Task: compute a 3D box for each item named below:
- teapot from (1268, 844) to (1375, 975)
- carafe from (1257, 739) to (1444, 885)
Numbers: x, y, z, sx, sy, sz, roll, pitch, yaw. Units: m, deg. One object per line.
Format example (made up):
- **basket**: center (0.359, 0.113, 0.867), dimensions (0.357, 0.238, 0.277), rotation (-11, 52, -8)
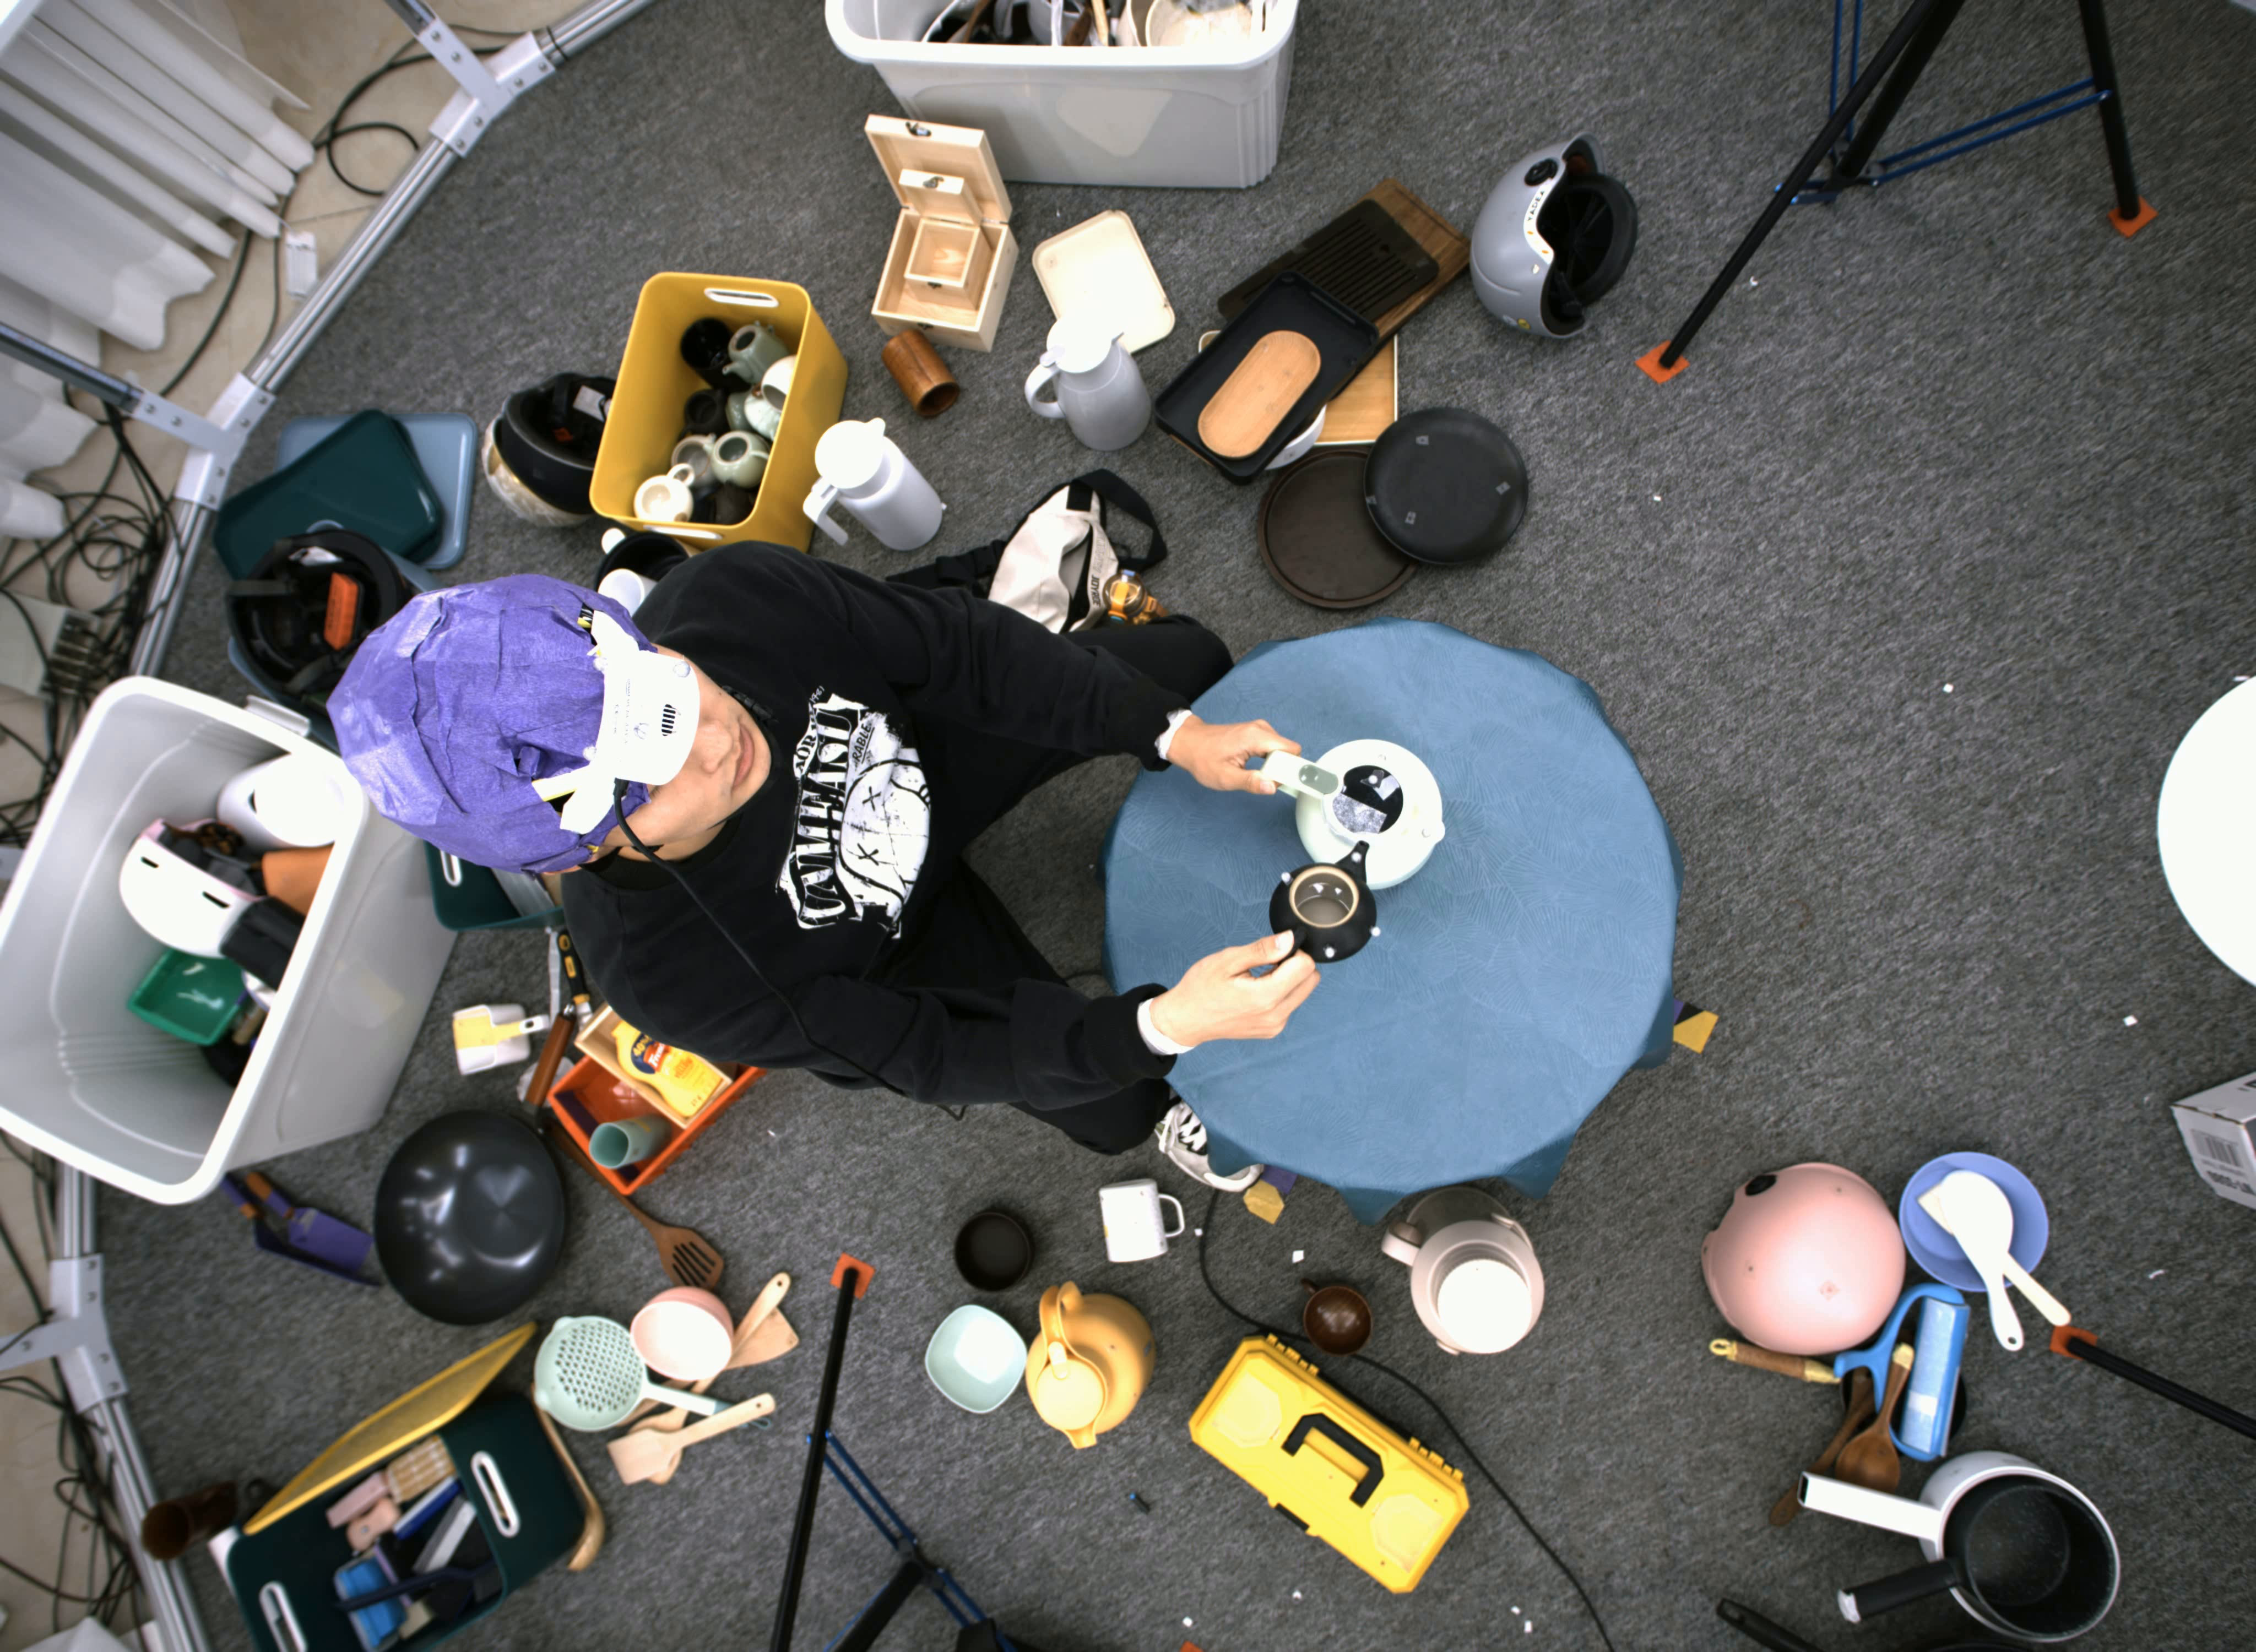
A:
- **teapot**: center (0.163, 0.074, 1.173), dimensions (0.090, 0.054, 0.131), rotation (31, 70, 22)
- **carafe**: center (0.222, -0.022, 1.346), dimensions (0.186, 0.256, 0.145), rotation (24, 93, 15)
